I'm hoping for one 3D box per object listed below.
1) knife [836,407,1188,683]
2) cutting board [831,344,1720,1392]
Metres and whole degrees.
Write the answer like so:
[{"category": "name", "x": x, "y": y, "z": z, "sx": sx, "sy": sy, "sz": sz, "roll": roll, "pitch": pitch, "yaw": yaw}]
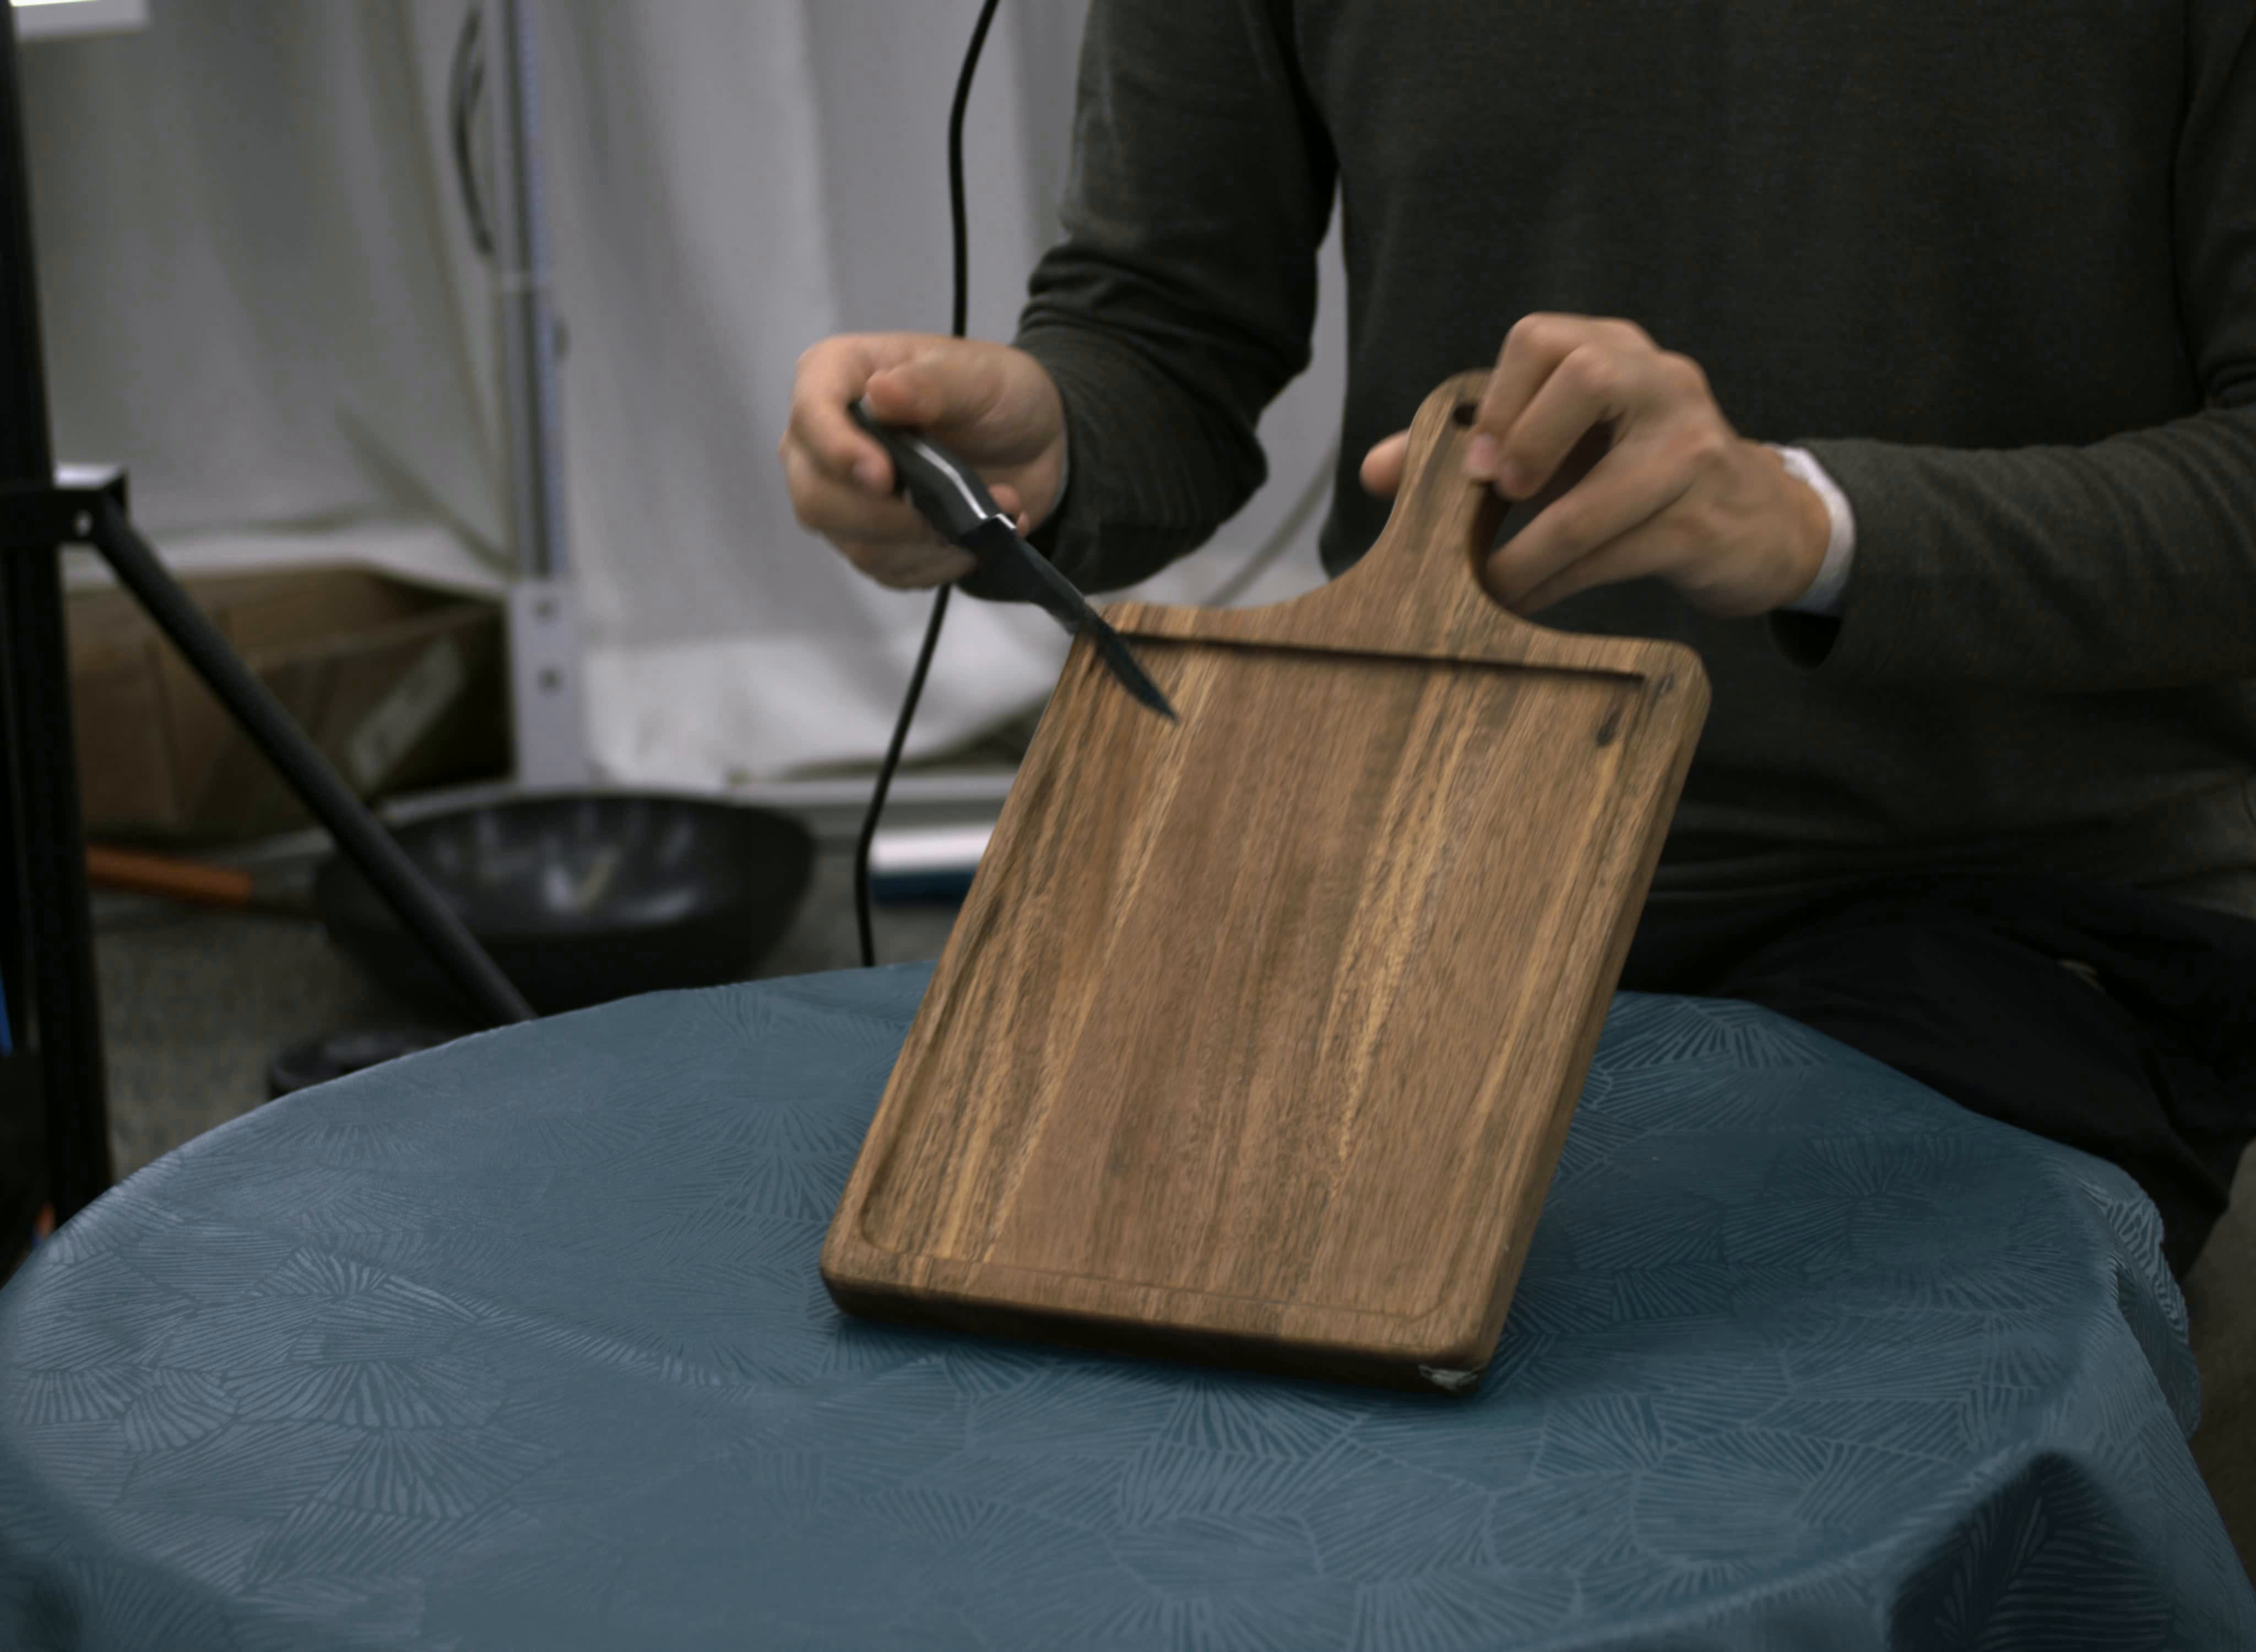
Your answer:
[{"category": "knife", "x": -0.034, "y": -0.080, "z": 1.564, "sx": 0.016, "sy": 0.024, "sz": 0.243, "roll": -22, "pitch": 29, "yaw": -17}, {"category": "cutting board", "x": 0.059, "y": 0.000, "z": 1.520, "sx": 0.204, "sy": 0.023, "sz": 0.352, "roll": 4, "pitch": 54, "yaw": 26}]
